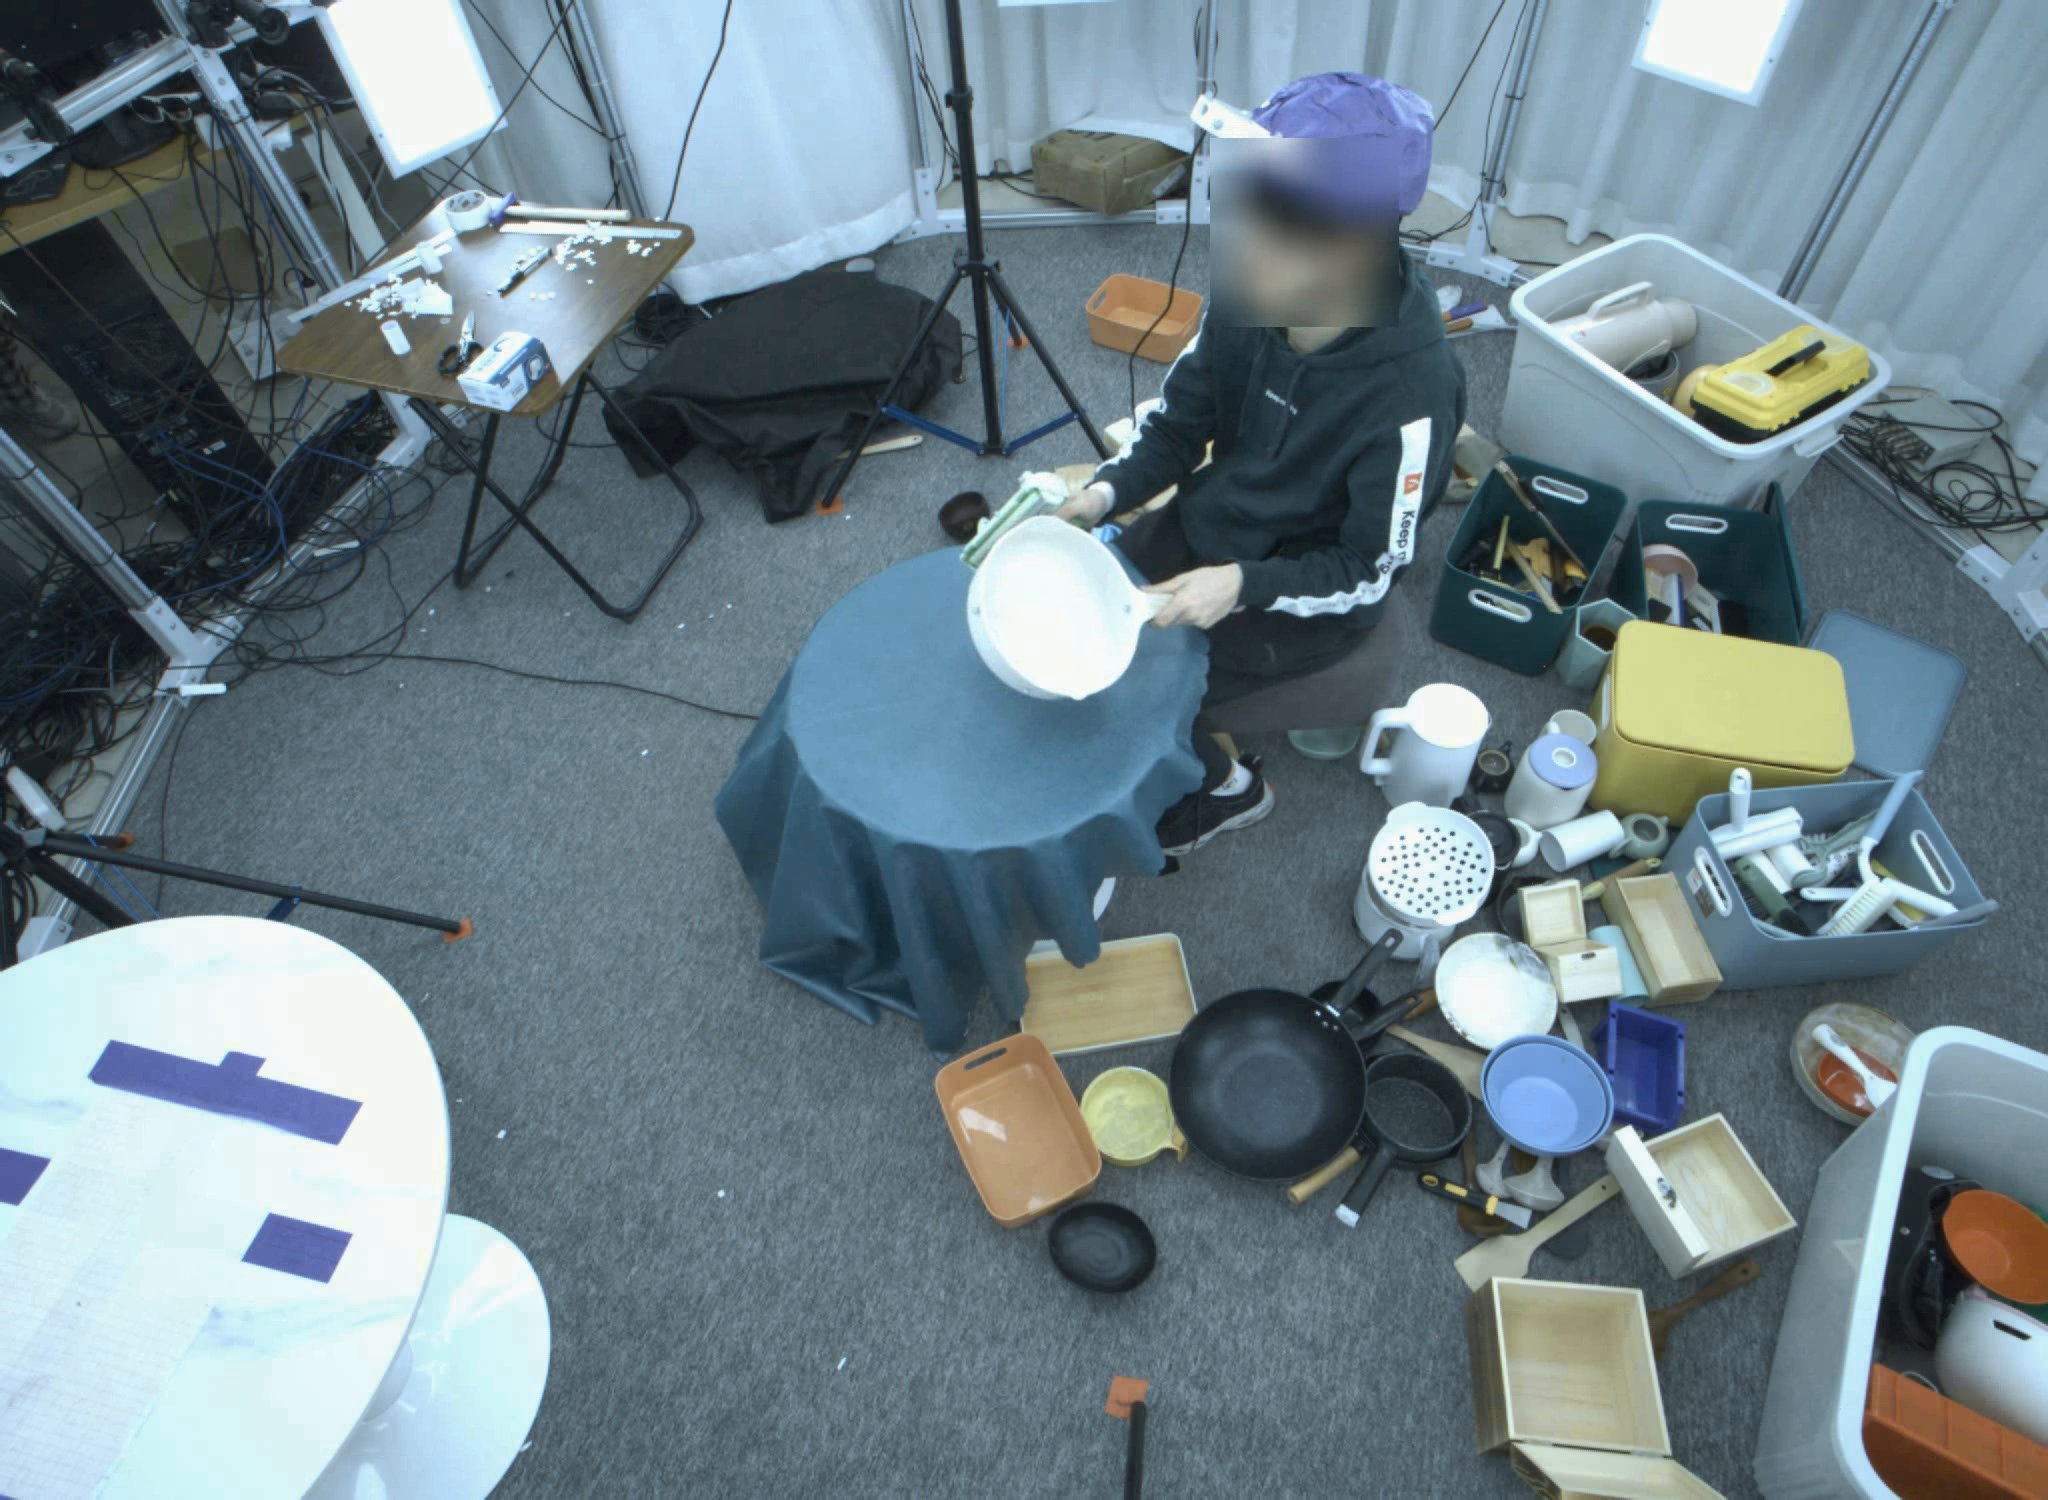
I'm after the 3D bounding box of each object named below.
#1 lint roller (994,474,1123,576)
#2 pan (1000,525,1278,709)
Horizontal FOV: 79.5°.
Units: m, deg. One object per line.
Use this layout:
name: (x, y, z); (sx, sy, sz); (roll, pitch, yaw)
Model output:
lint roller: (0.067, -0.338, 1.774); (0.186, 0.196, 0.082); (-25, 82, -43)
pan: (0.163, -0.181, 1.742); (0.443, 0.100, 0.262); (-4, 79, -31)
